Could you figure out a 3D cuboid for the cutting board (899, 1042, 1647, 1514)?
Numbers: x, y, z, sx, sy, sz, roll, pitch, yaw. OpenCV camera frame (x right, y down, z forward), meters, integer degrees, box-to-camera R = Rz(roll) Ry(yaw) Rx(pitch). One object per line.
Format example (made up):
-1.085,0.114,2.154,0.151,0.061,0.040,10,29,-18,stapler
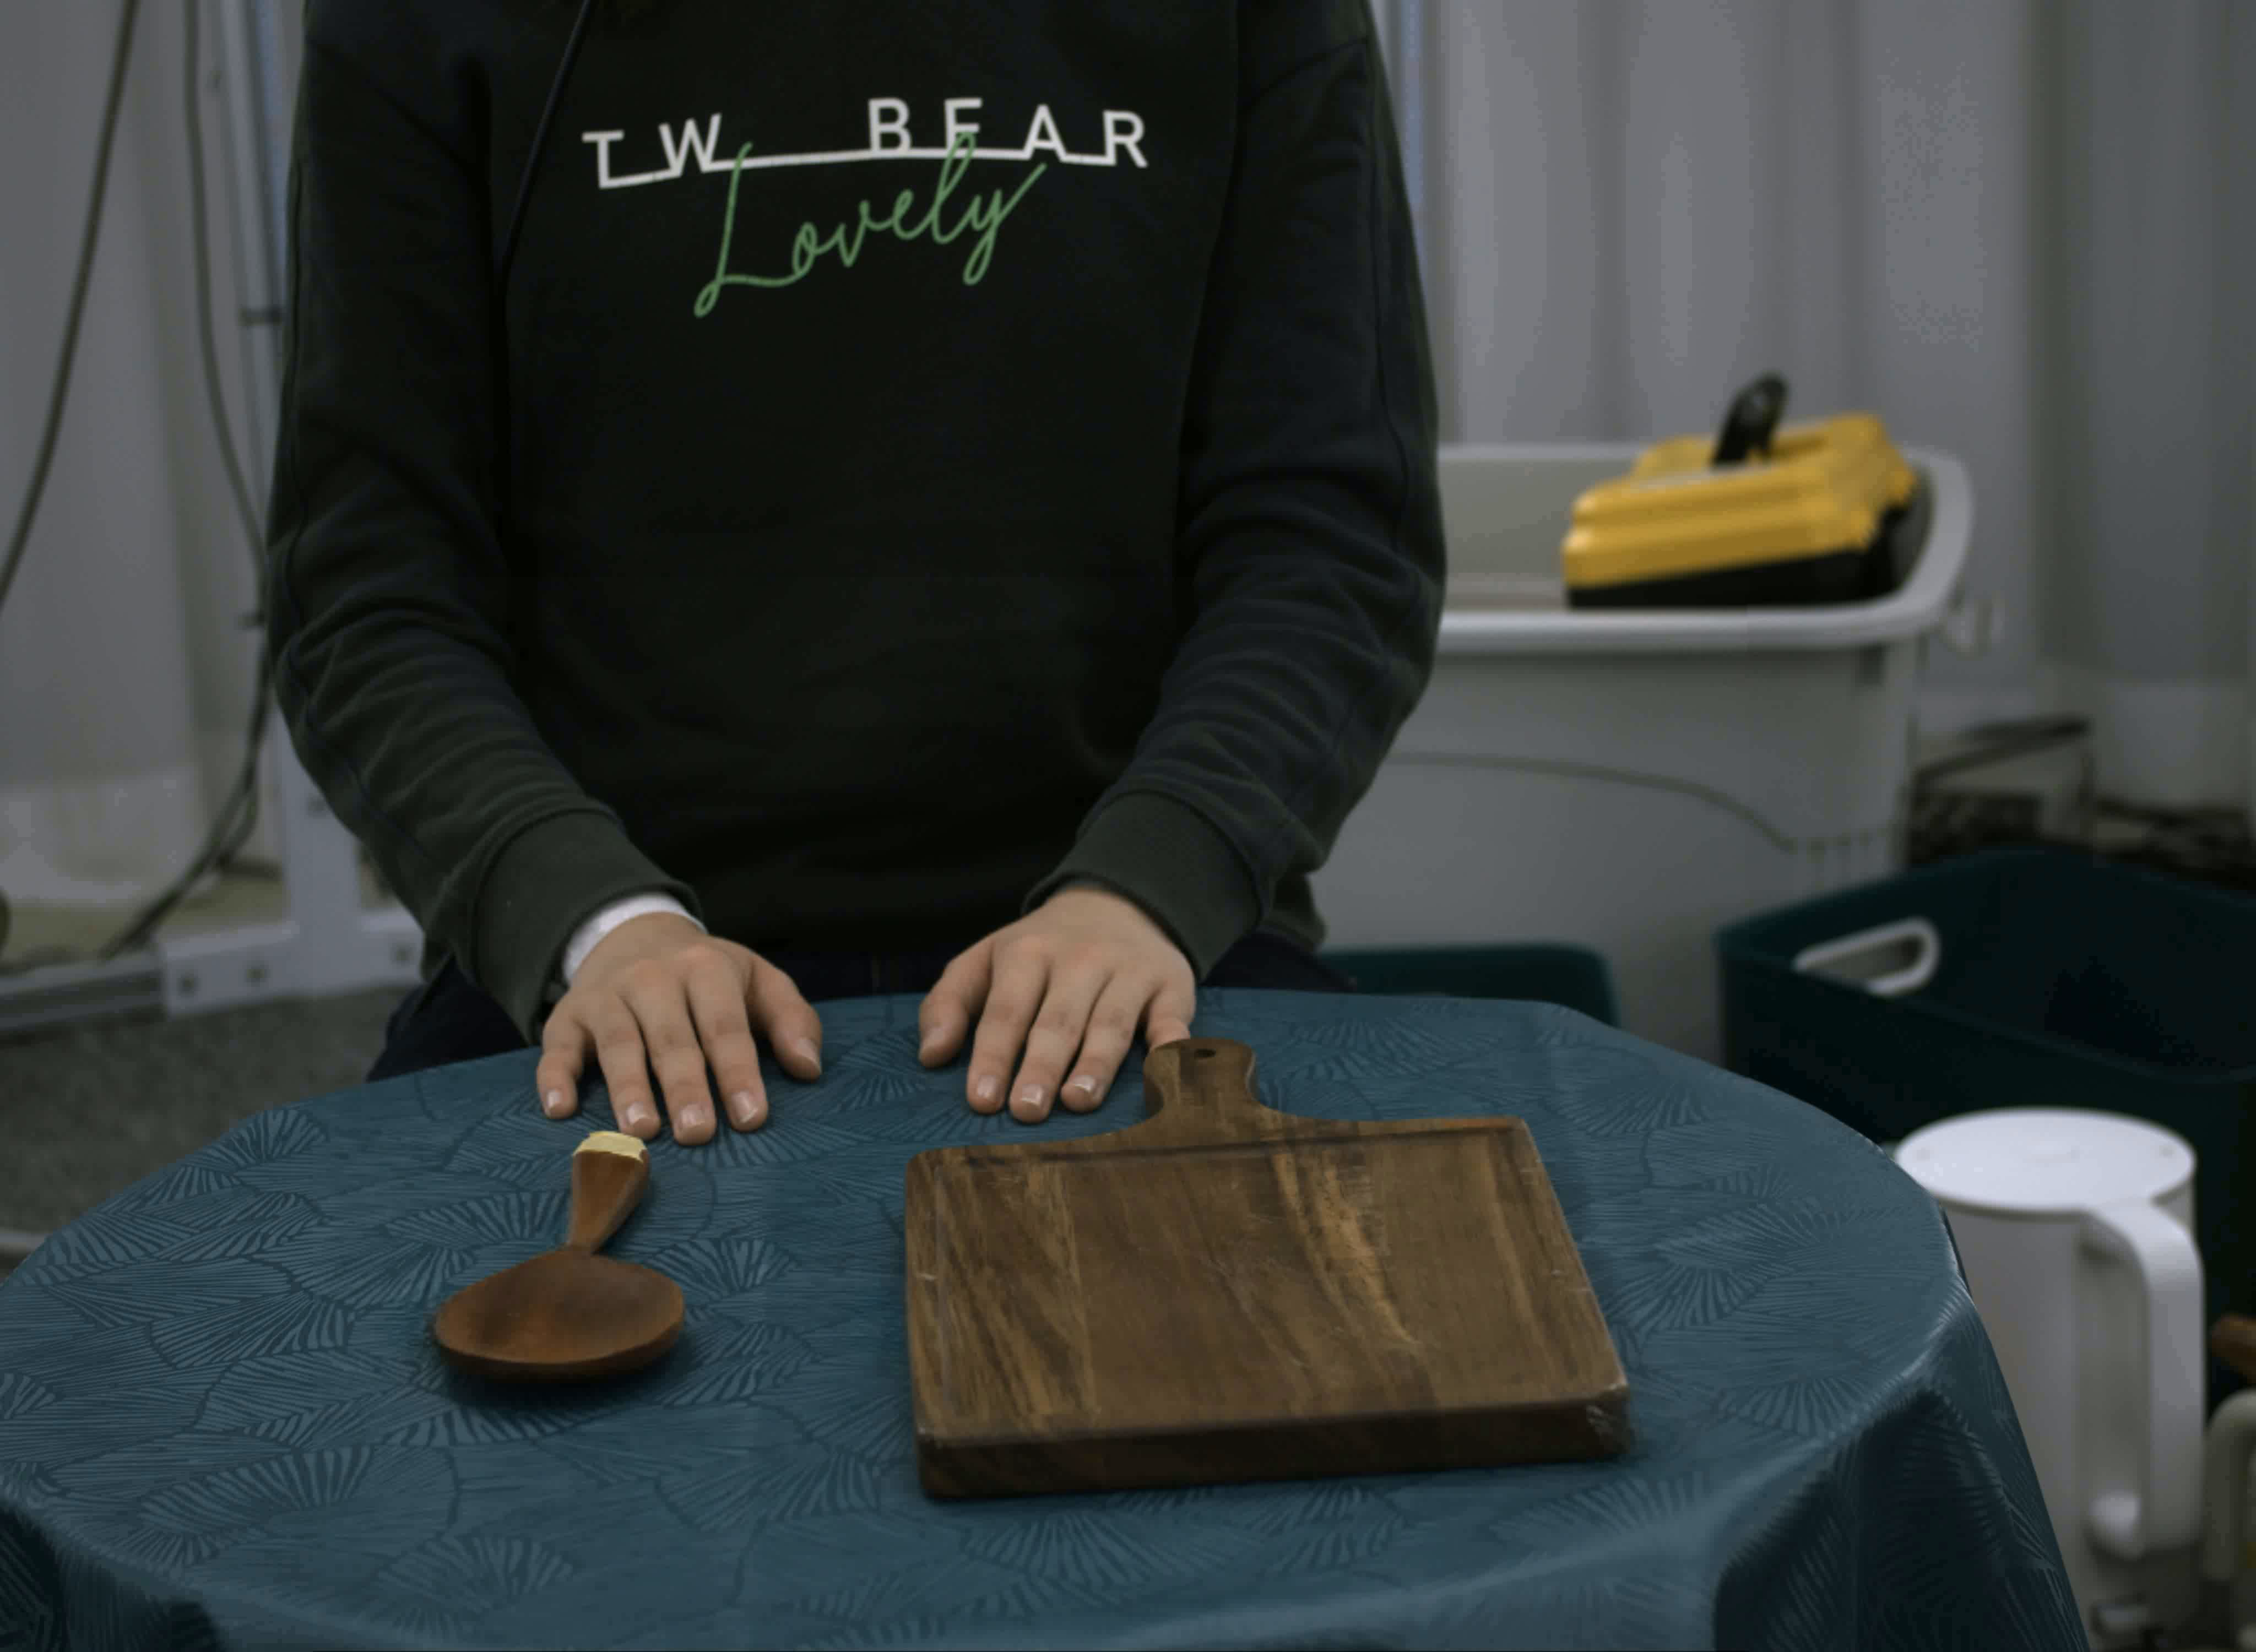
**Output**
0.032,0.125,1.637,0.200,0.023,0.354,-4,15,-2,cutting board

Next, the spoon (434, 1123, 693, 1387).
-0.164,0.131,1.652,0.075,0.017,0.217,-4,15,1,spoon
